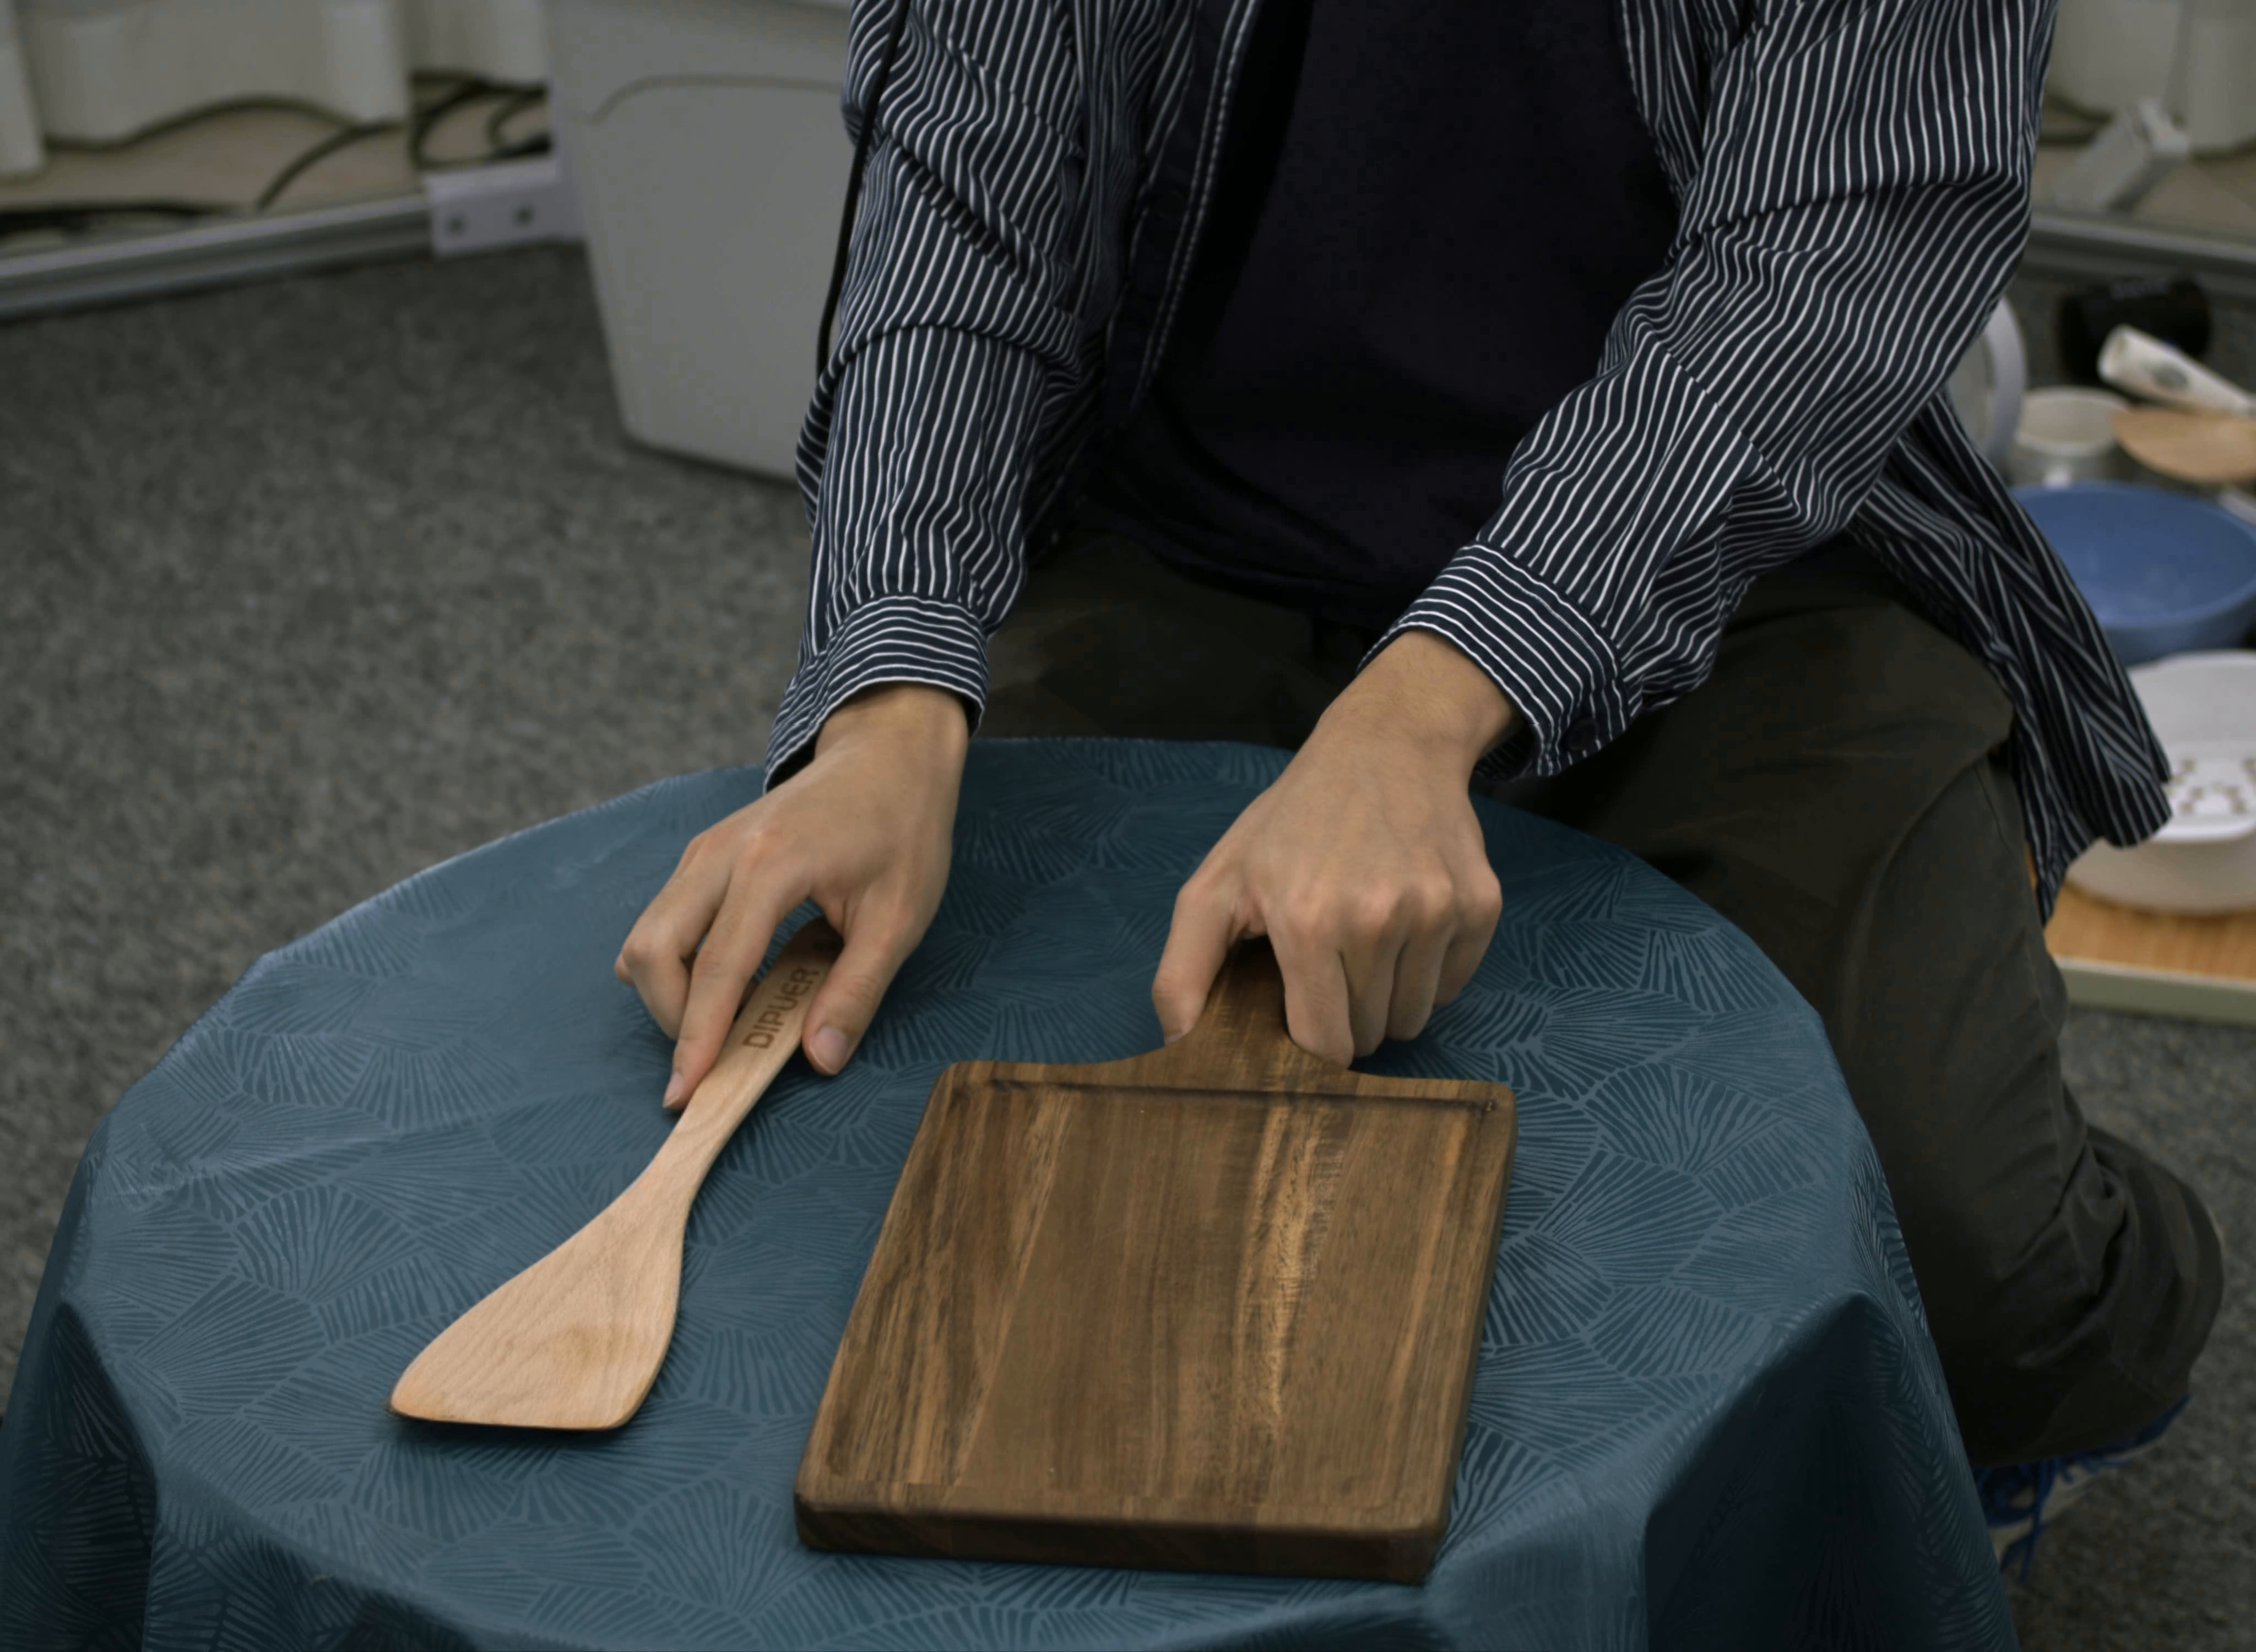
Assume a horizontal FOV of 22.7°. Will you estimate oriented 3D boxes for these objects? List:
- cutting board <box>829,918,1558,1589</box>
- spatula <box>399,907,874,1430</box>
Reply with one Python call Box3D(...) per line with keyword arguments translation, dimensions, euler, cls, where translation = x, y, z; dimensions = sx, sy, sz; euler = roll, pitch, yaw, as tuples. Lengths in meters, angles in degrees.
Box3D(translation=(0.034, 0.127, 1.807), dimensions=(0.200, 0.023, 0.358), euler=(2, 30, 10), cls="cutting board")
Box3D(translation=(-0.145, 0.110, 1.870), dimensions=(0.079, 0.016, 0.333), euler=(7, 32, 15), cls="spatula")
